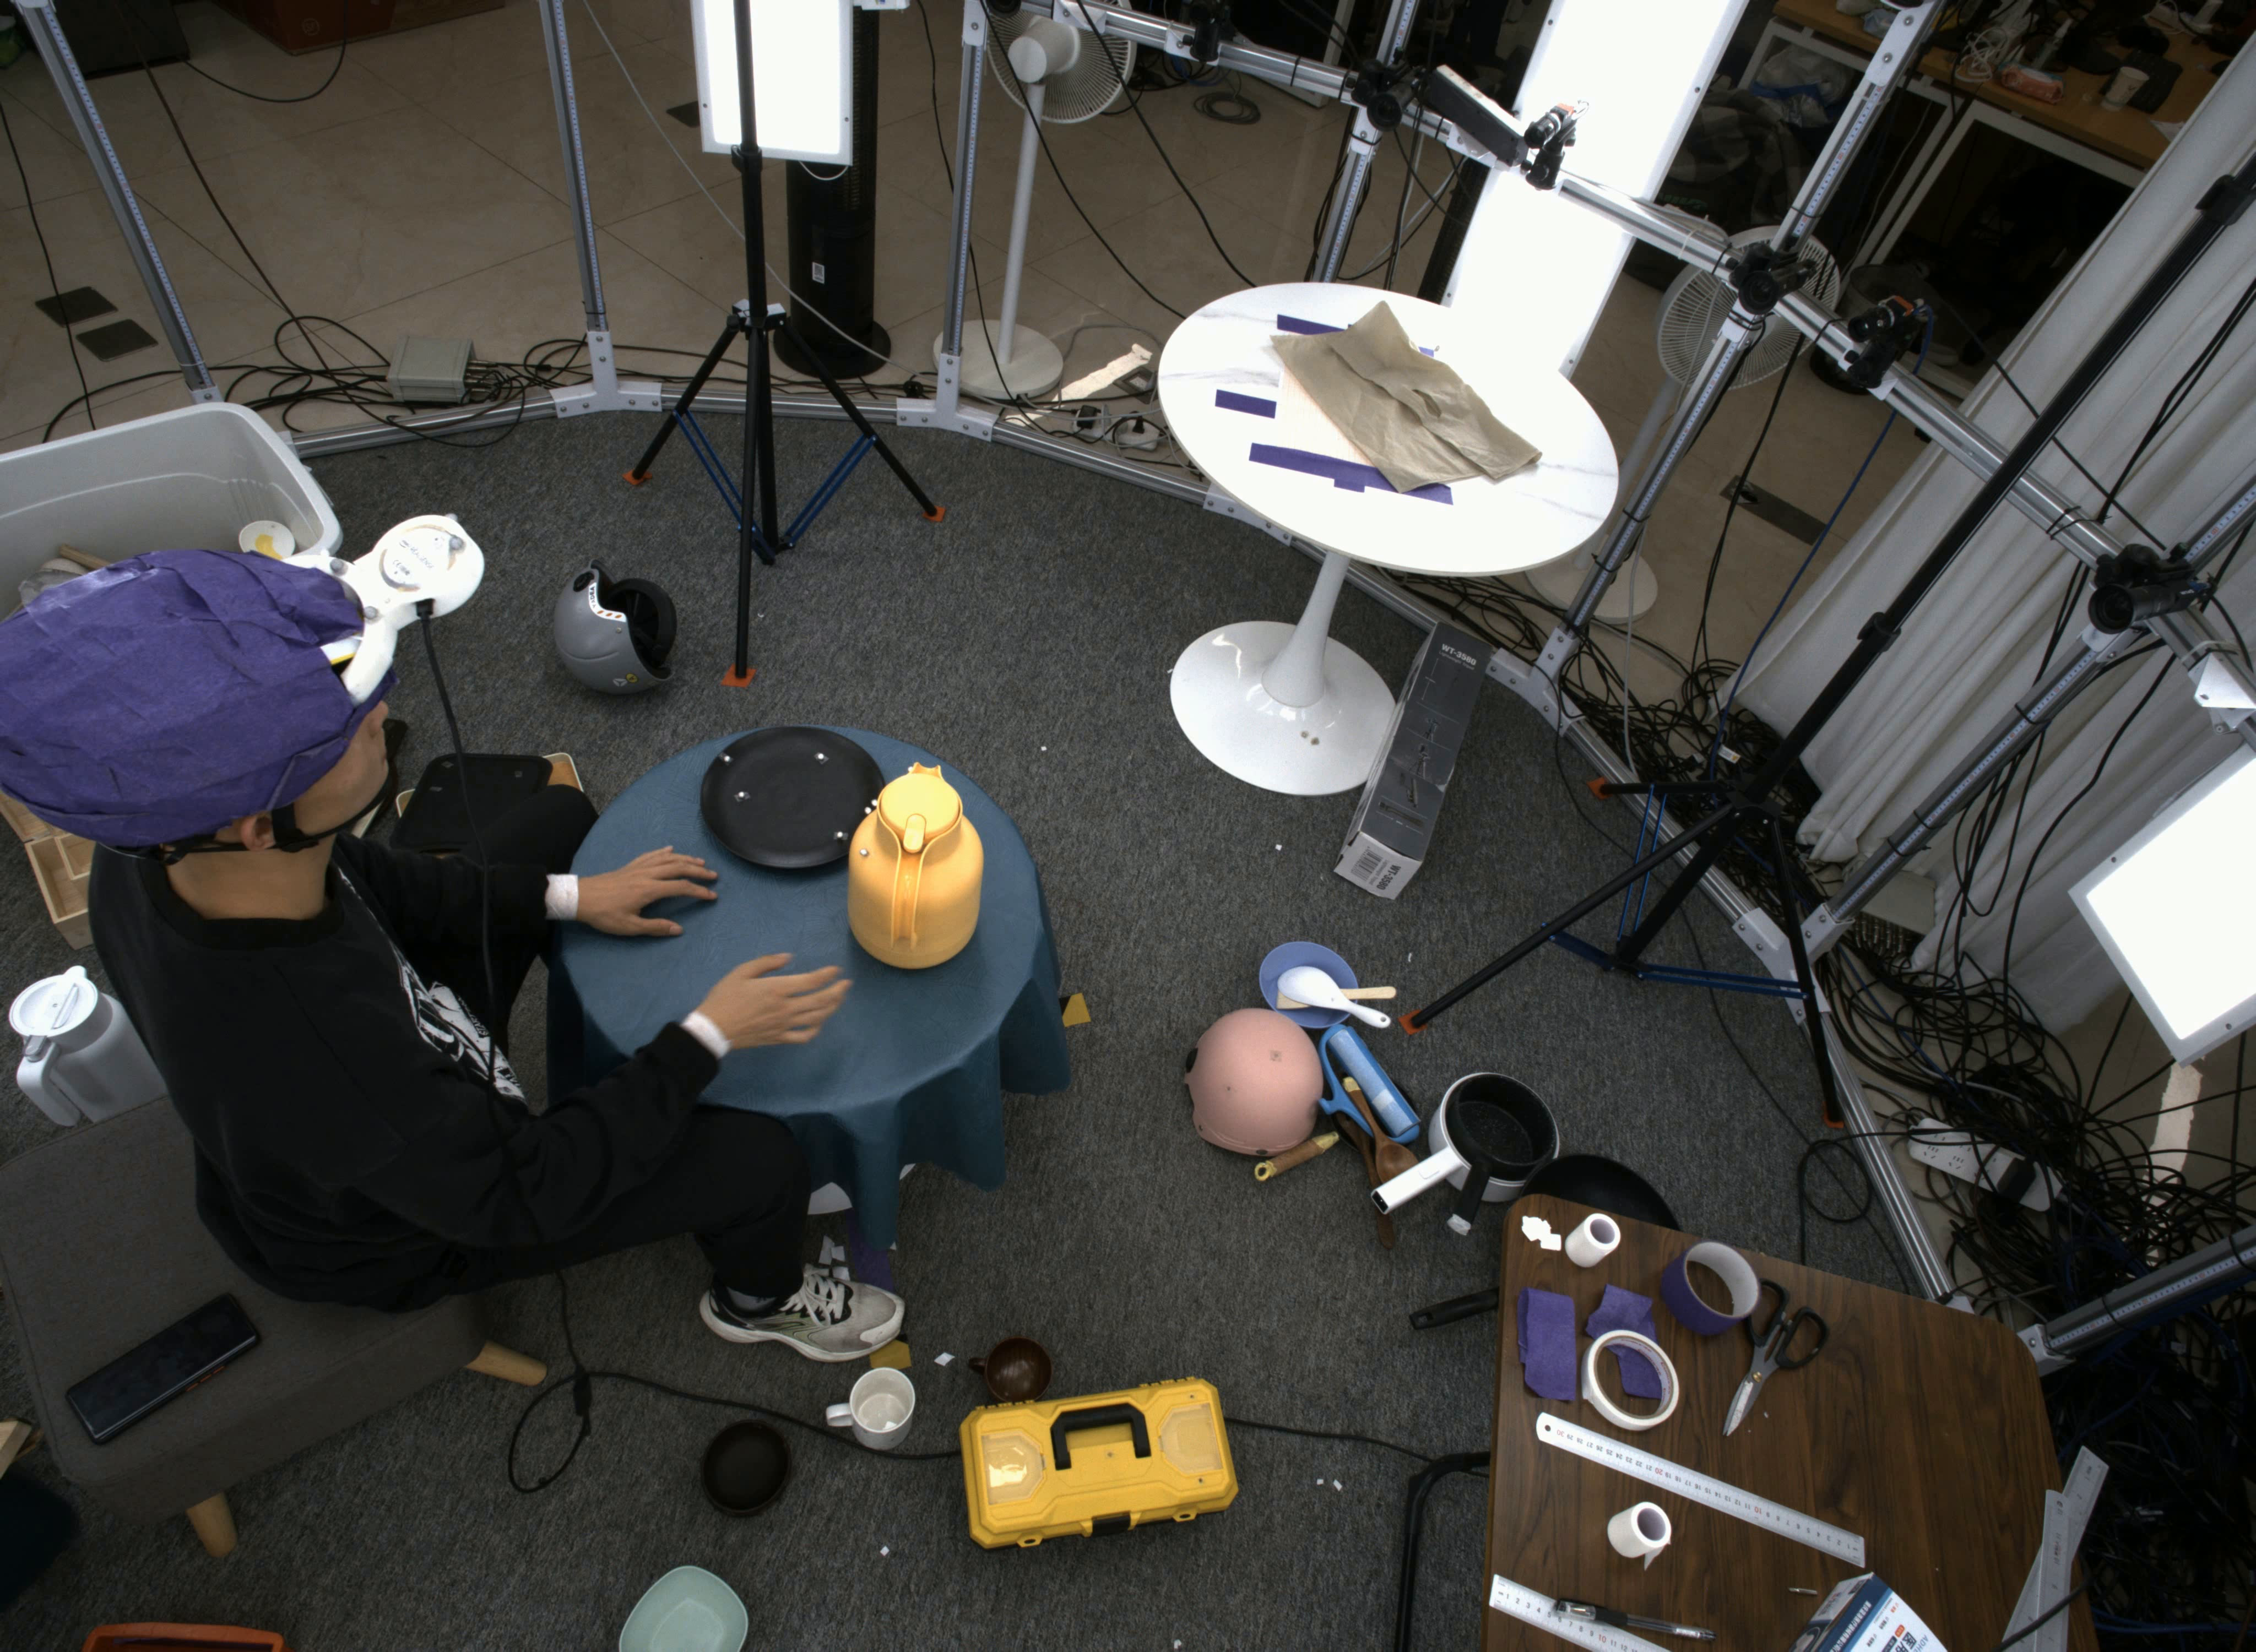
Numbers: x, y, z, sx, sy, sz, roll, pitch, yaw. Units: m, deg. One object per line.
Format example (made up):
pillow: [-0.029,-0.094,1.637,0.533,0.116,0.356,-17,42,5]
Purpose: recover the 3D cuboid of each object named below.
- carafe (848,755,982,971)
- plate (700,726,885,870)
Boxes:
carafe: [-0.258,0.058,1.550,0.162,0.267,0.199,8,49,-3]
plate: [-0.445,-0.037,1.728,0.244,0.024,0.240,8,52,-9]
